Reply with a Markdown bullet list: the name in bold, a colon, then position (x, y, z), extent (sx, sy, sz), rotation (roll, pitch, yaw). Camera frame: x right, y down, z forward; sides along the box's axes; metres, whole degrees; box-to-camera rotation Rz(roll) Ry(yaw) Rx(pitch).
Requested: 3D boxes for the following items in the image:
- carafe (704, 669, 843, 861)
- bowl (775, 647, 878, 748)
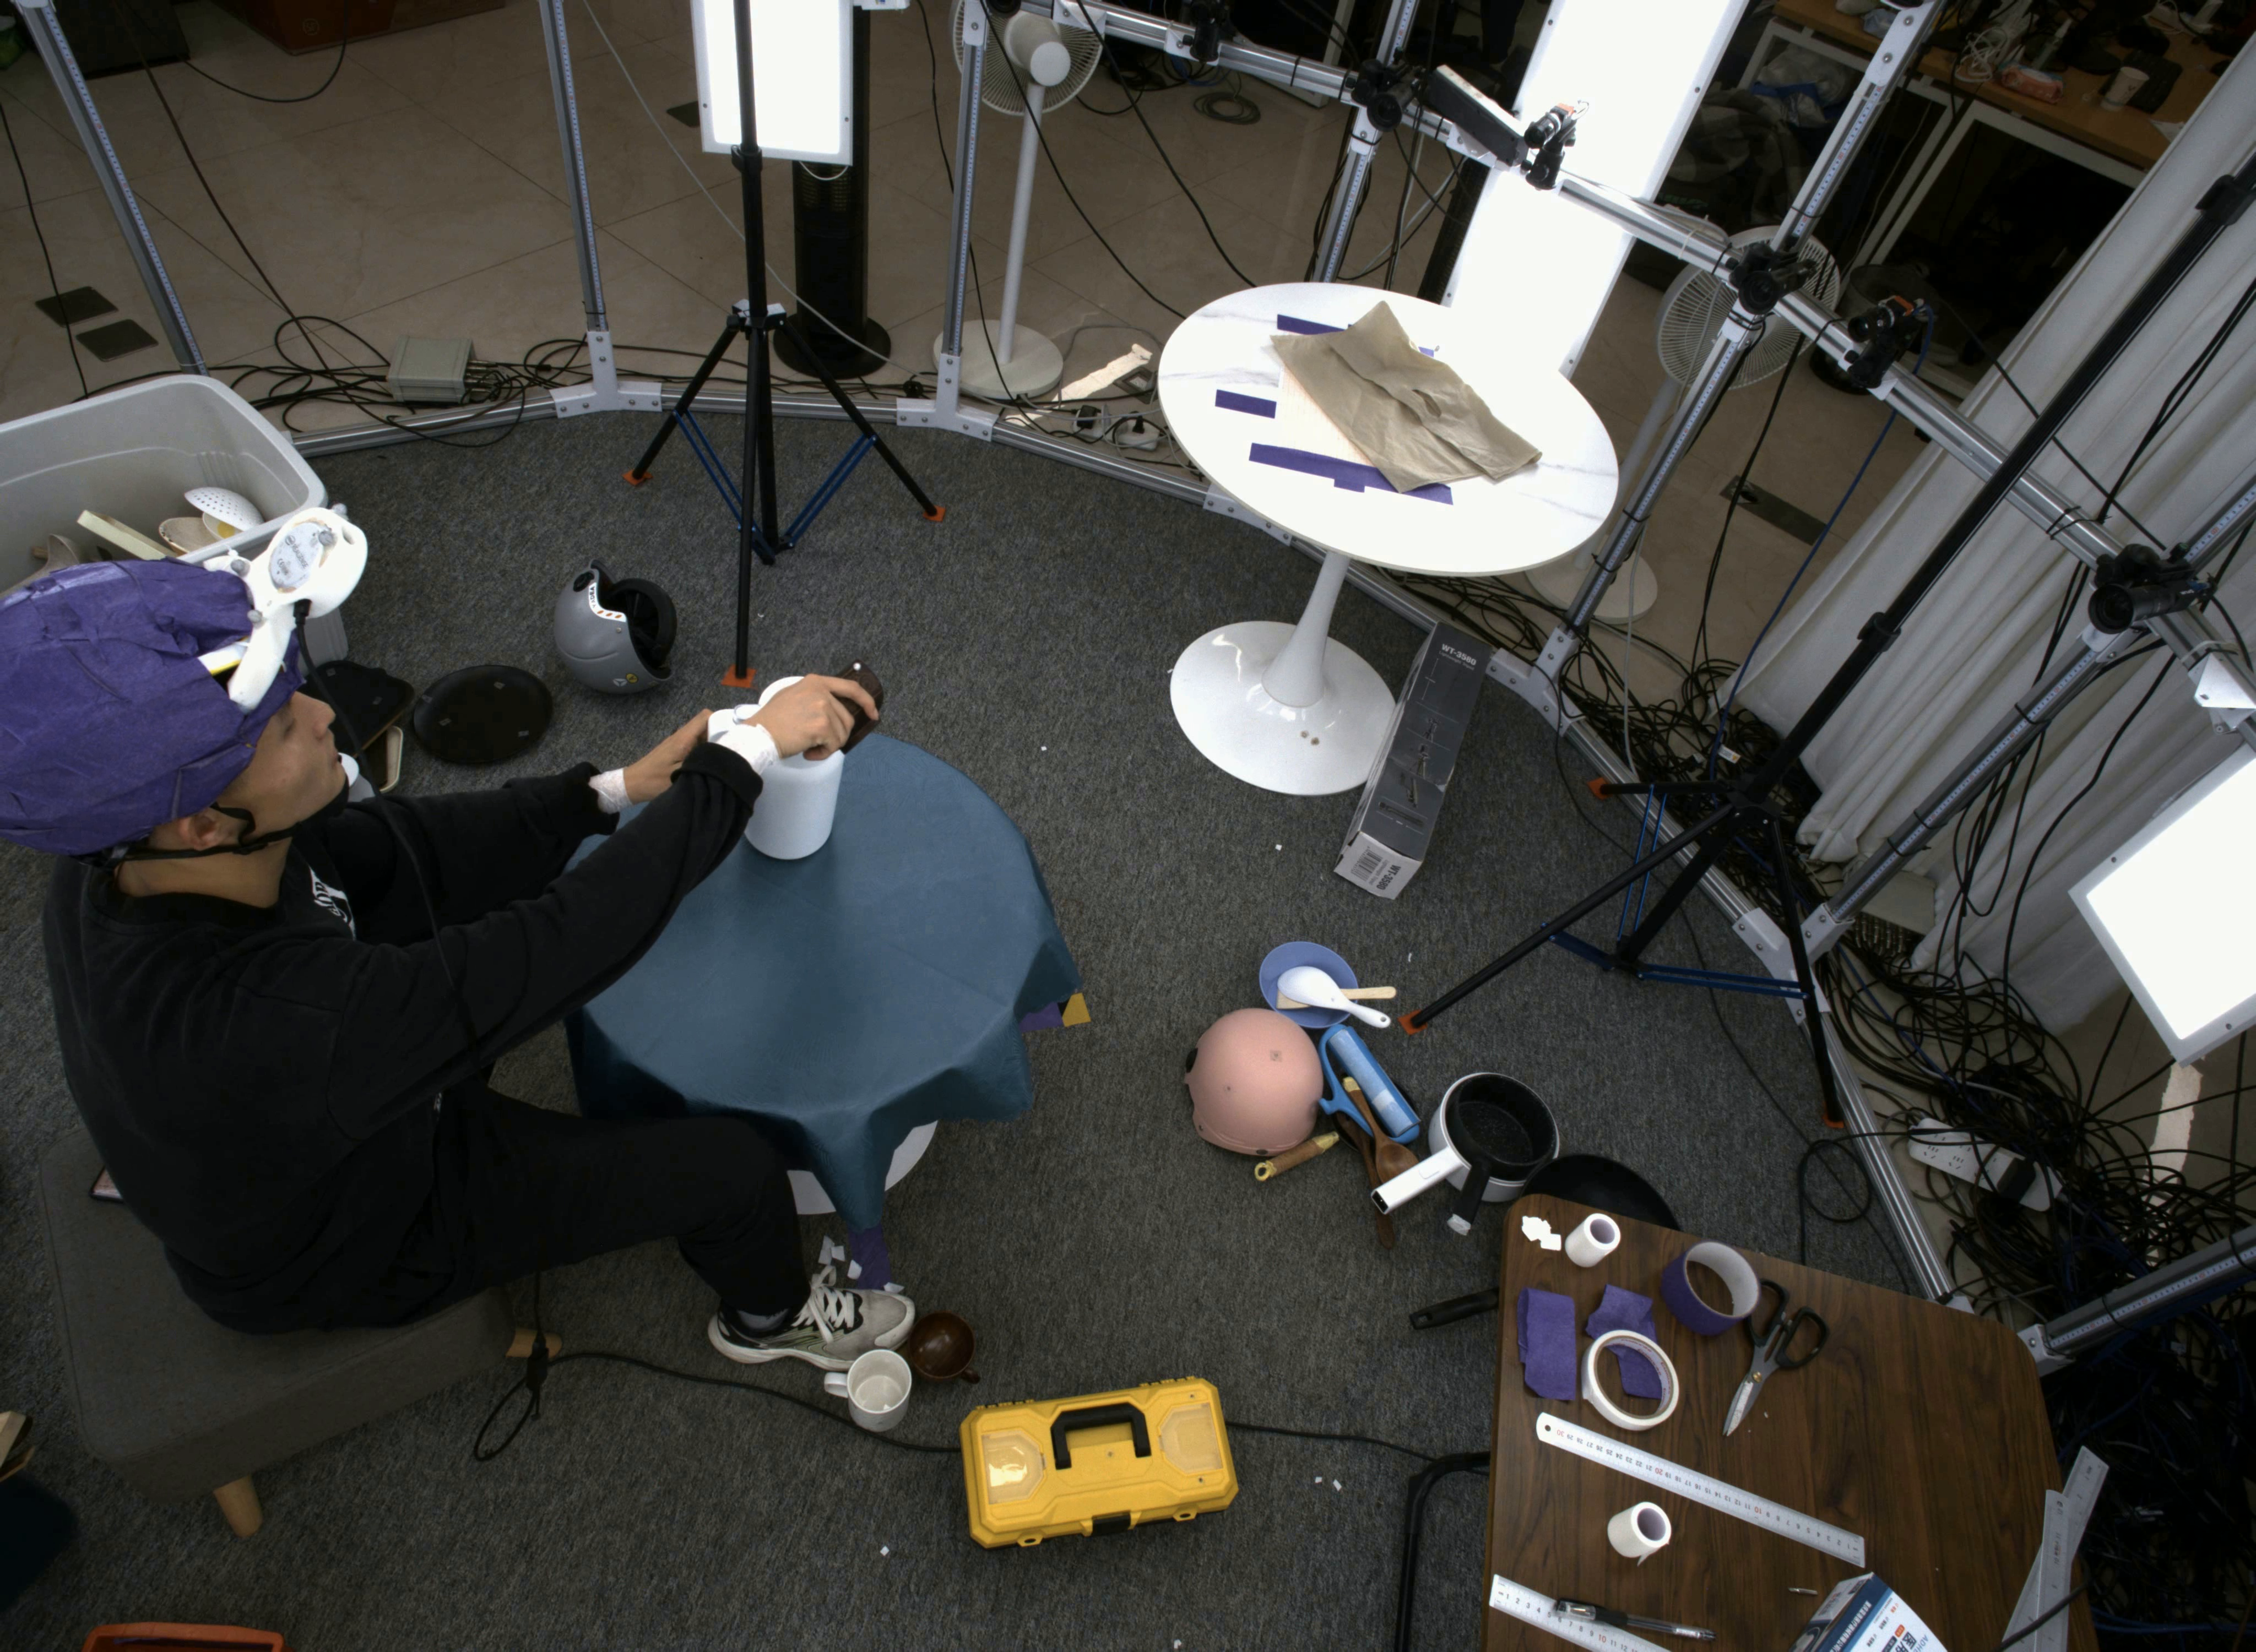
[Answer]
- **carafe**: position (-0.432, -0.070, 1.590), extent (0.174, 0.271, 0.122), rotation (-4, 63, -21)
- **bowl**: position (-0.324, -0.132, 1.431), extent (0.071, 0.116, 0.117), rotation (47, 52, -11)
